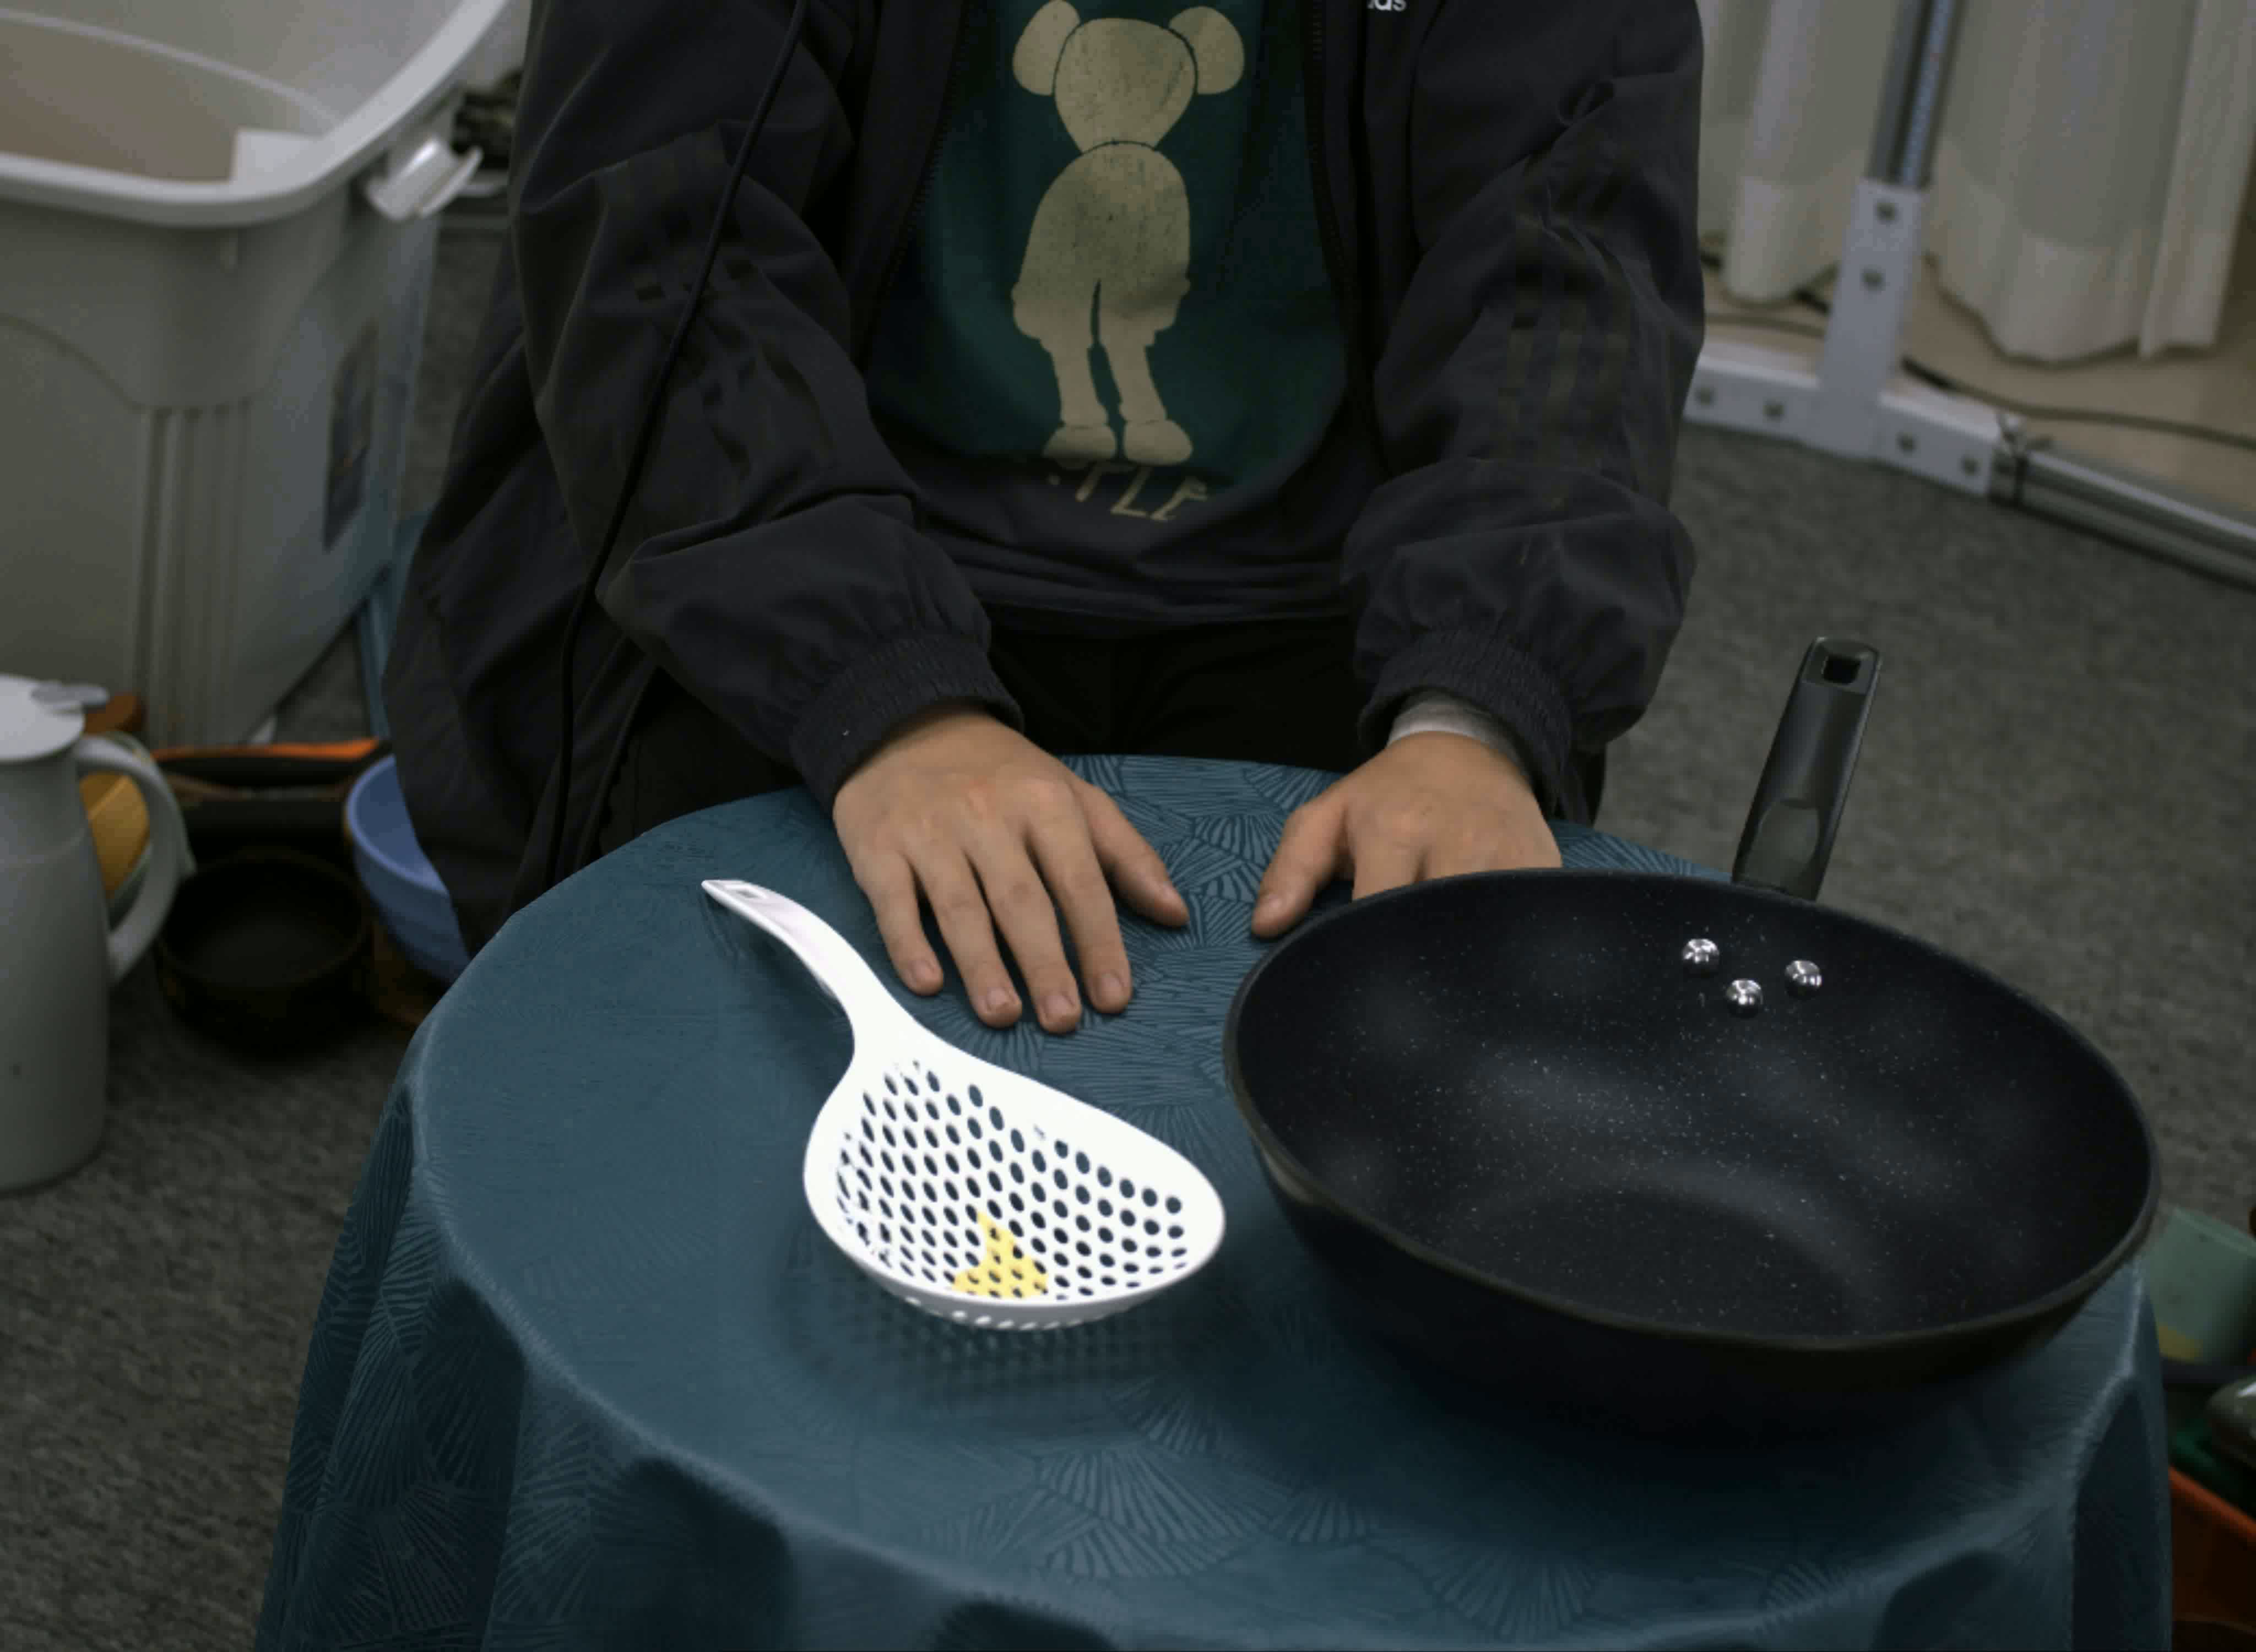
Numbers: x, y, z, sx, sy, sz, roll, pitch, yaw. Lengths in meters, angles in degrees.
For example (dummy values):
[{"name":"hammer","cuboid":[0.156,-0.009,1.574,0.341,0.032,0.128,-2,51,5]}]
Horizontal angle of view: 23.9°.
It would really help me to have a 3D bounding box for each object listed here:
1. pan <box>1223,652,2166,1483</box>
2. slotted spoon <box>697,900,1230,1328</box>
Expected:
[{"name":"pan","cuboid":[0.203,0.082,1.816,0.310,0.111,0.478,13,28,10]},{"name":"slotted spoon","cuboid":[-0.079,0.086,1.817,0.136,0.050,0.351,-7,30,-21]}]
